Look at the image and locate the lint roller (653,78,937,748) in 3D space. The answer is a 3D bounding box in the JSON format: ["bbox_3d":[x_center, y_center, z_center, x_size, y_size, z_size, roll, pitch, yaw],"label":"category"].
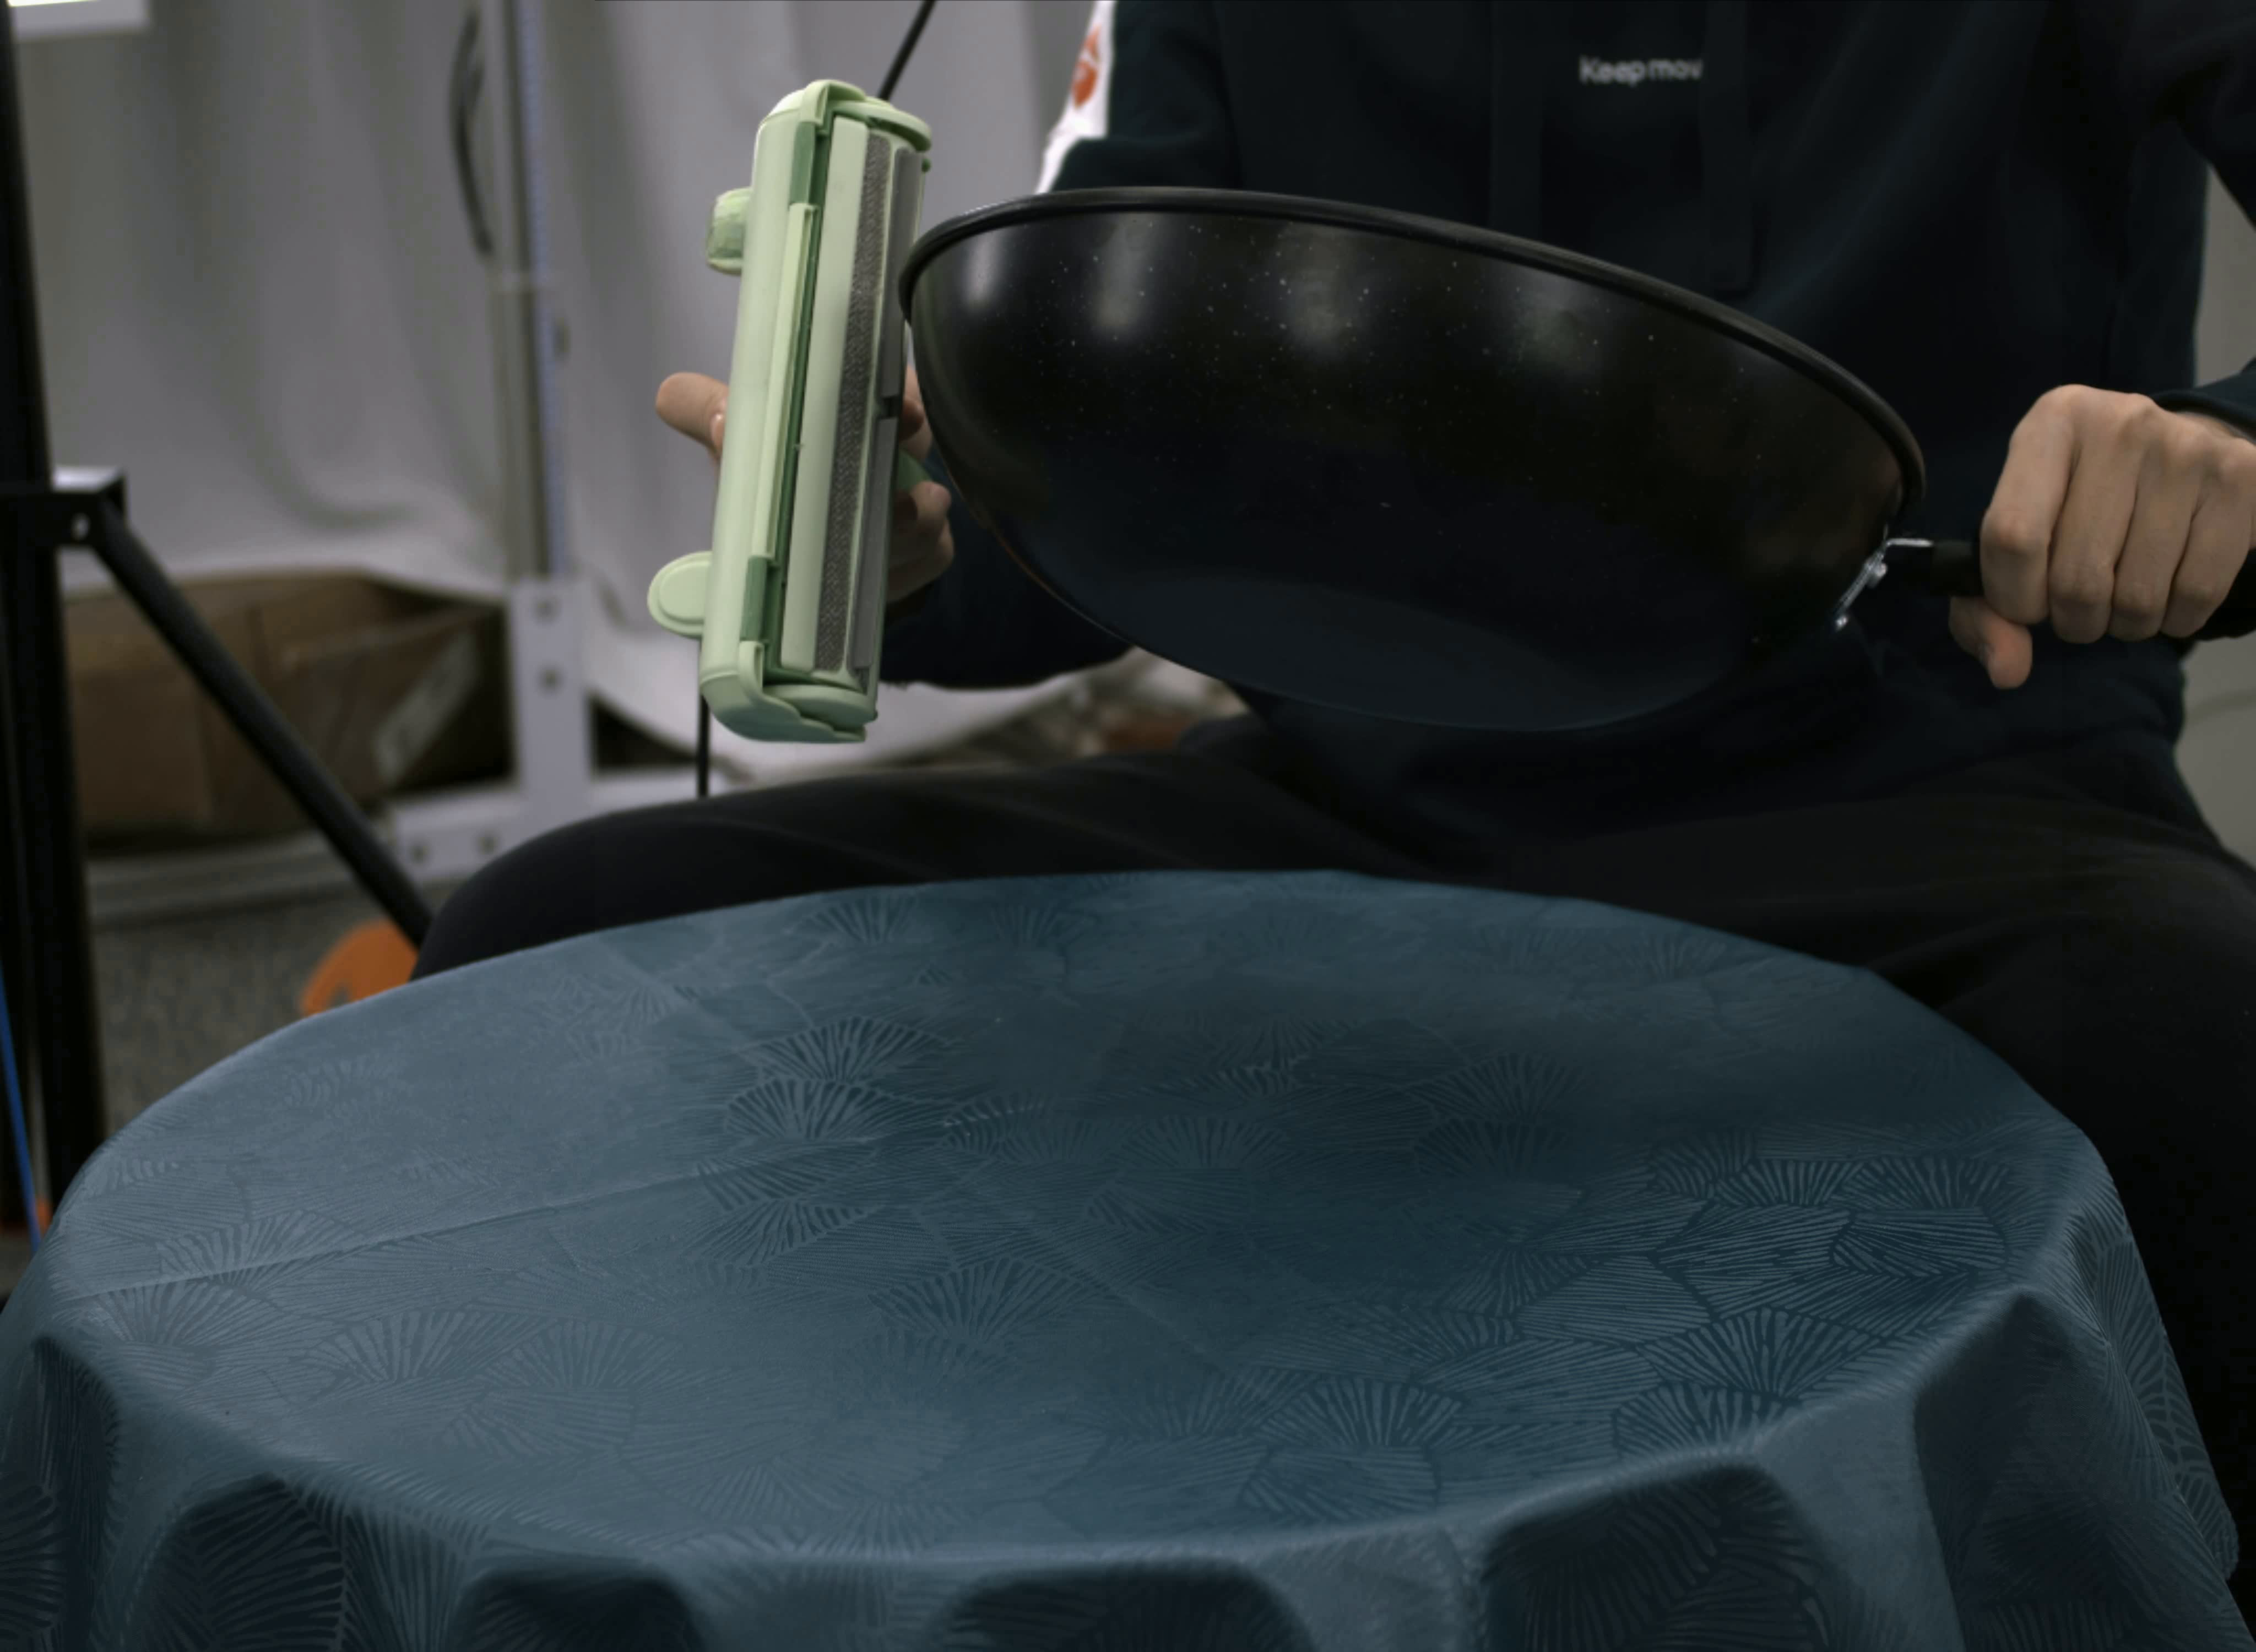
[{"bbox_3d":[-0.102,-0.113,1.672,0.082,0.200,0.183,4,-12,0],"label":"lint roller"}]

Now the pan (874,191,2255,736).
[{"bbox_3d":[0.150,-0.081,1.570,0.472,0.112,0.311,14,-11,-6],"label":"pan"}]
